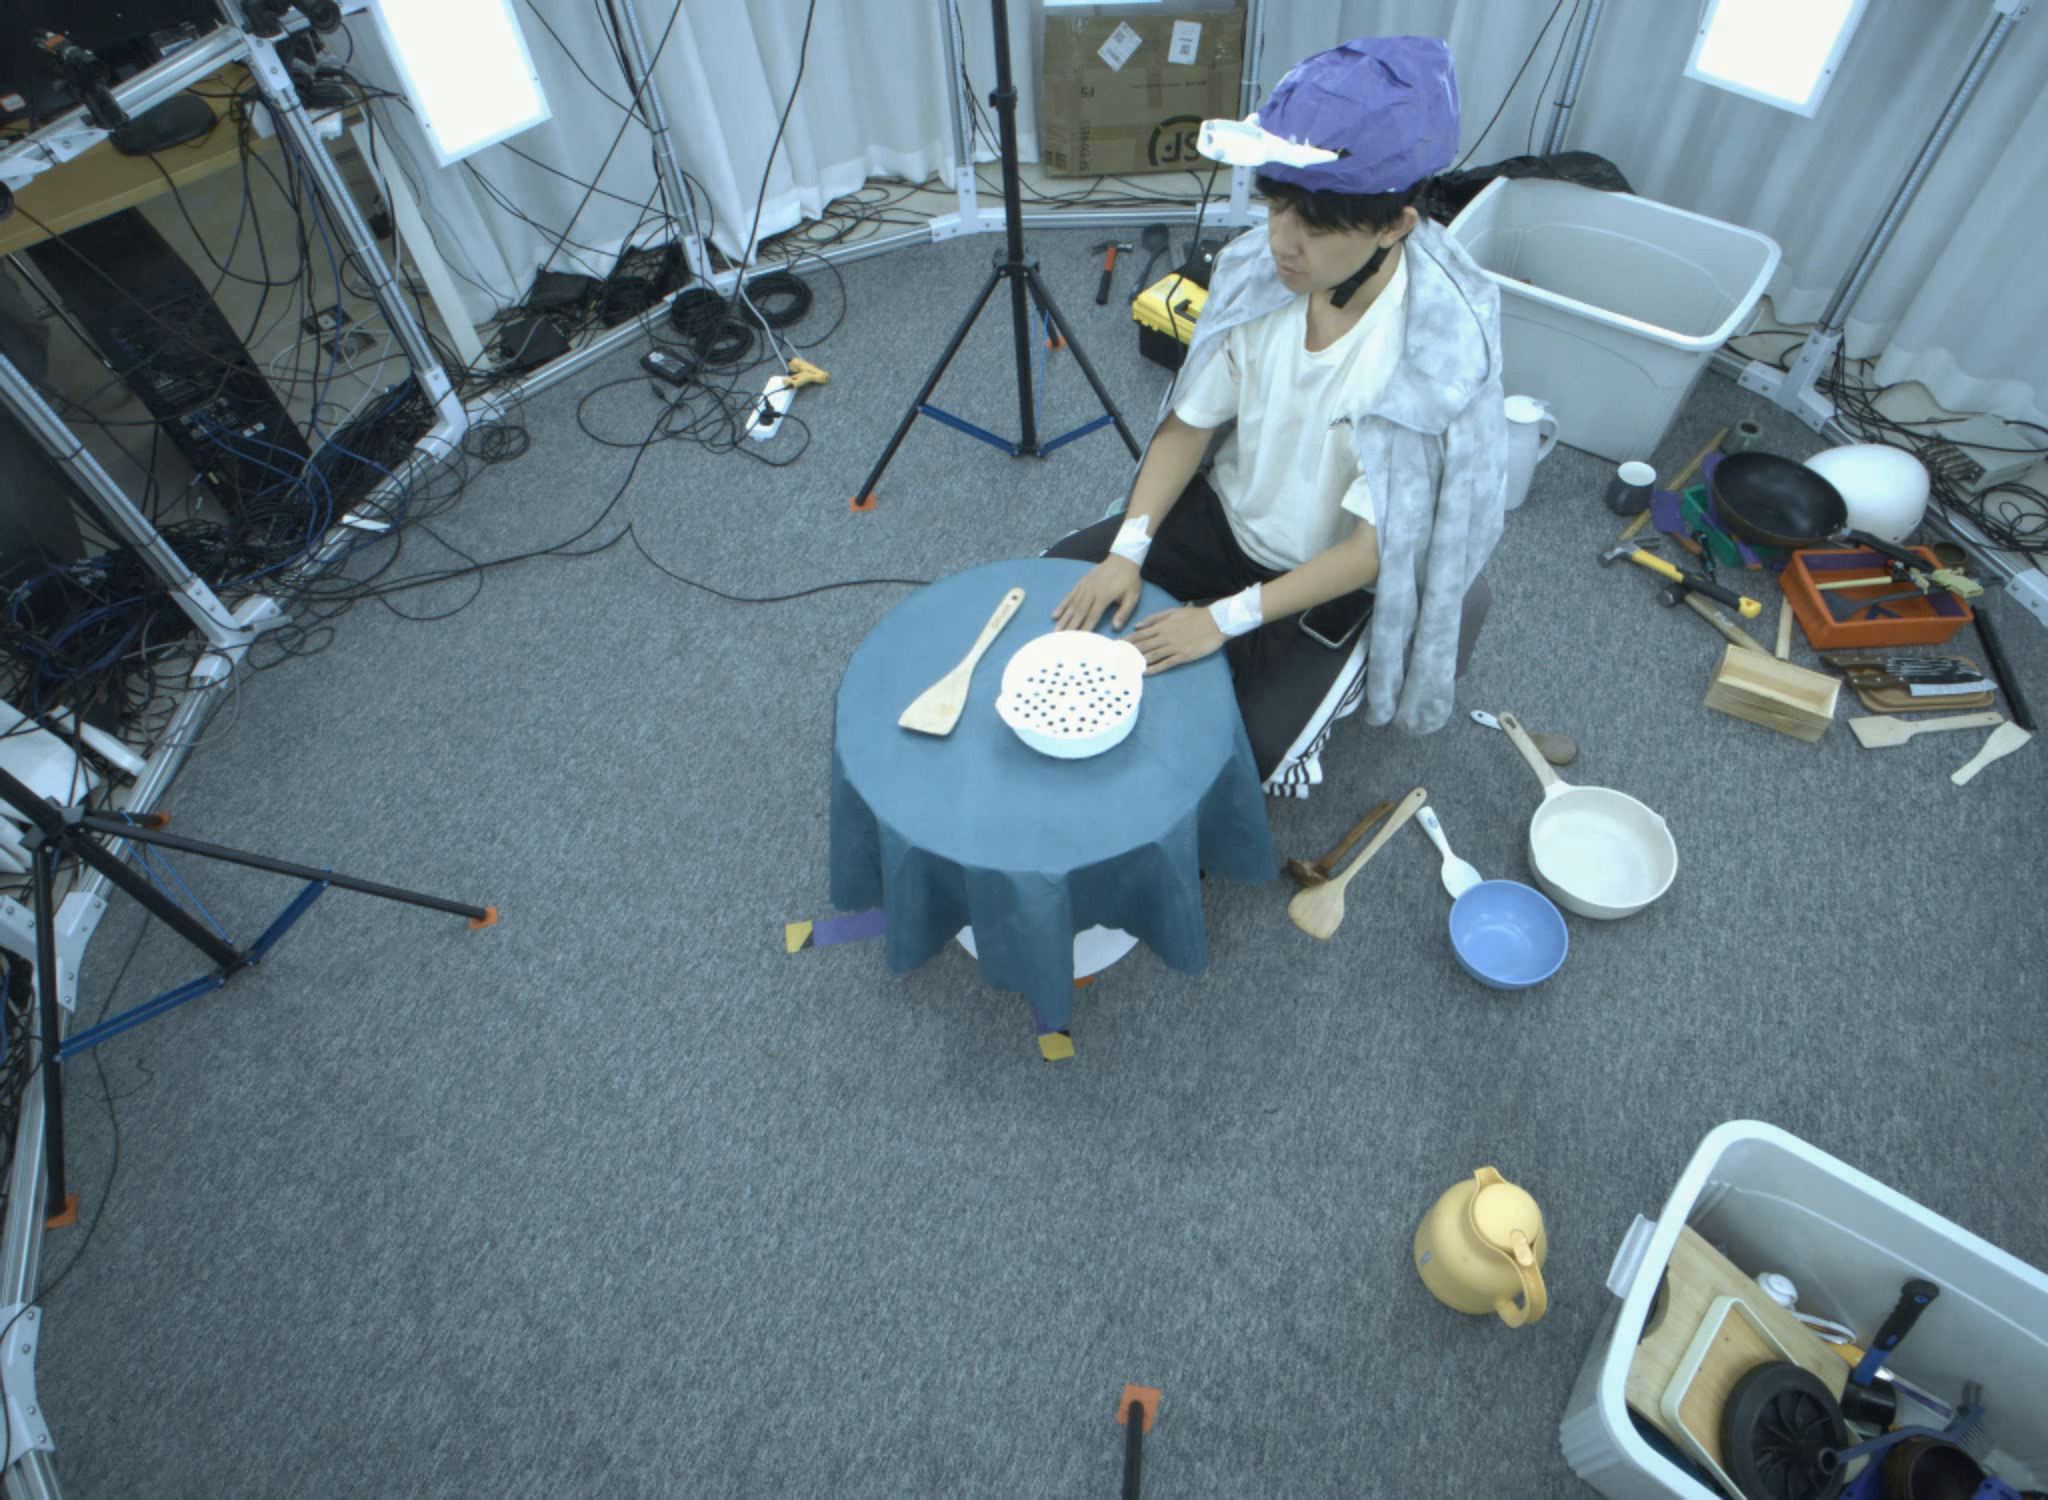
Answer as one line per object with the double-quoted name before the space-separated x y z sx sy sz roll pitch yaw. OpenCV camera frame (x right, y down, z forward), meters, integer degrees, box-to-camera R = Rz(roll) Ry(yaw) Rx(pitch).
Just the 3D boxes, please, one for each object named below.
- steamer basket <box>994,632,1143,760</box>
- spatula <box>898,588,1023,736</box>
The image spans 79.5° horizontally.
"steamer basket" 0.066 -0.077 1.802 0.232 0.070 0.198 -26 59 -16
"spatula" -0.081 -0.140 1.881 0.079 0.017 0.328 22 58 16
